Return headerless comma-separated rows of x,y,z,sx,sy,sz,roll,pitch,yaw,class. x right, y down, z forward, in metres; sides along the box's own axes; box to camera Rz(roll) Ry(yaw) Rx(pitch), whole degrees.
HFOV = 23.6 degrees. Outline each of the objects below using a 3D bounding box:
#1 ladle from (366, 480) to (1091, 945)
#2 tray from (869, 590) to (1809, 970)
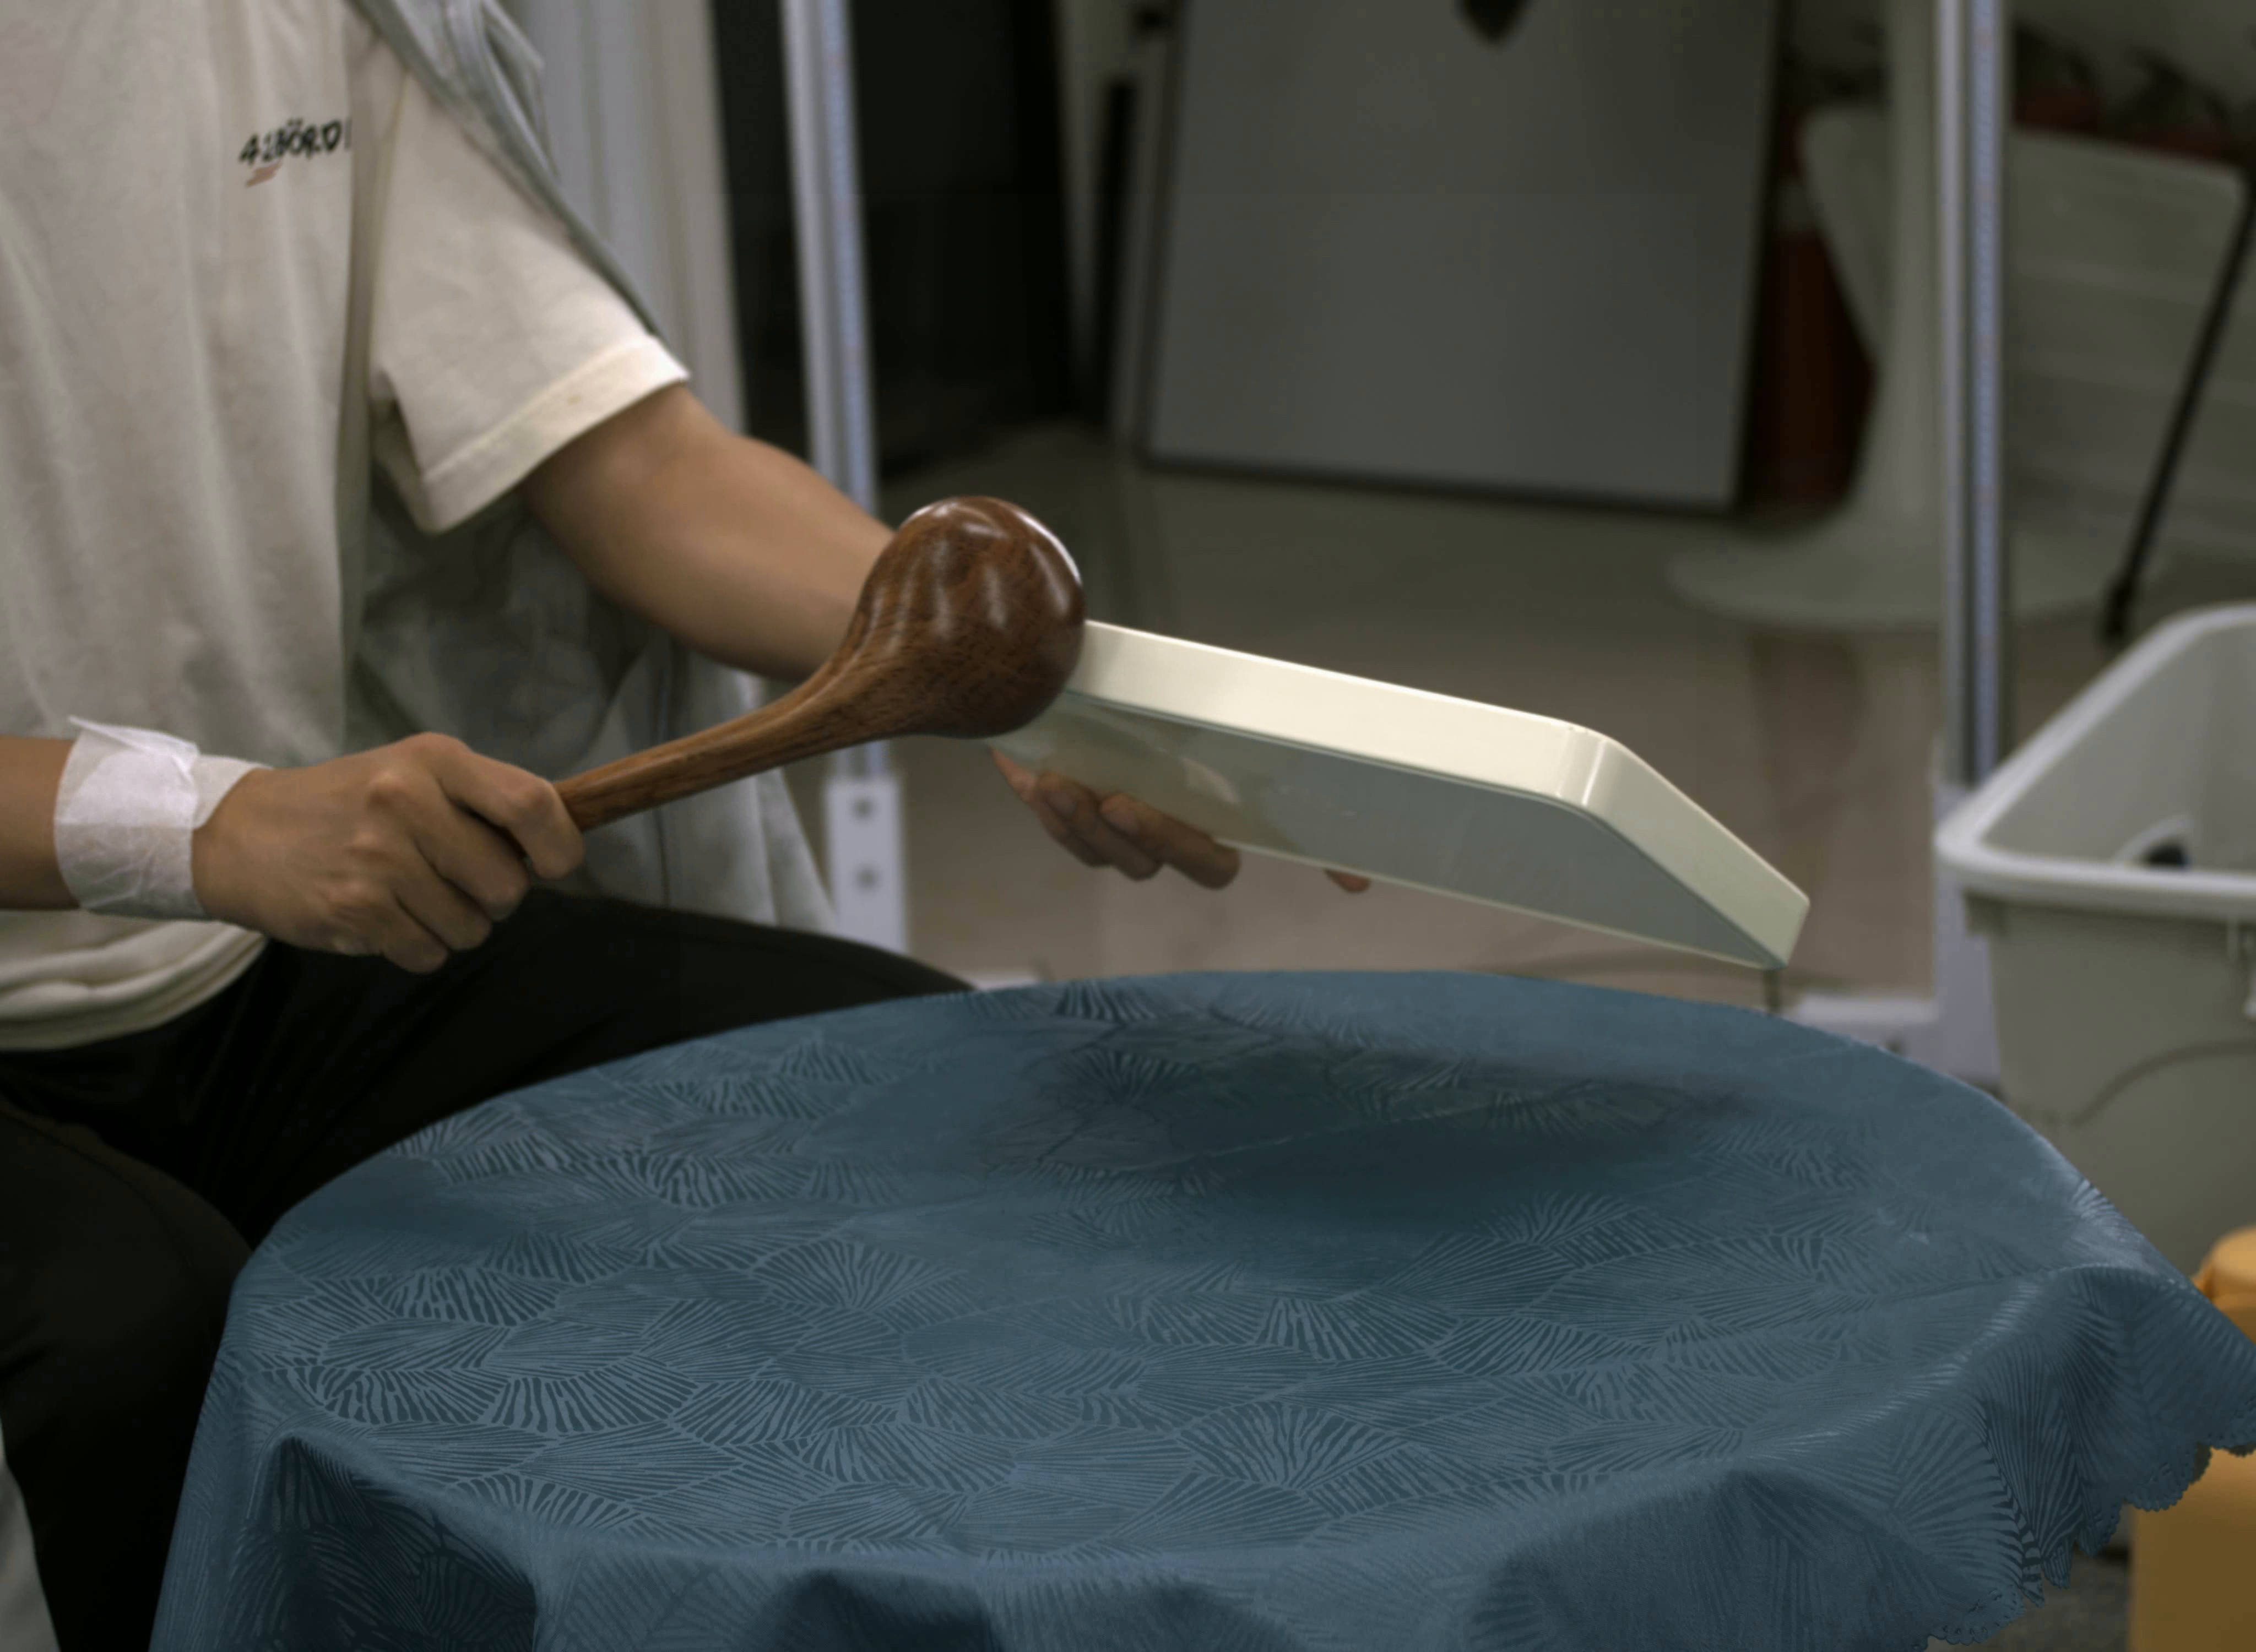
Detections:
-0.136,-0.034,1.805,0.275,0.082,0.076,-23,18,27,ladle
0.068,-0.017,1.831,0.302,0.027,0.188,13,-13,35,tray
